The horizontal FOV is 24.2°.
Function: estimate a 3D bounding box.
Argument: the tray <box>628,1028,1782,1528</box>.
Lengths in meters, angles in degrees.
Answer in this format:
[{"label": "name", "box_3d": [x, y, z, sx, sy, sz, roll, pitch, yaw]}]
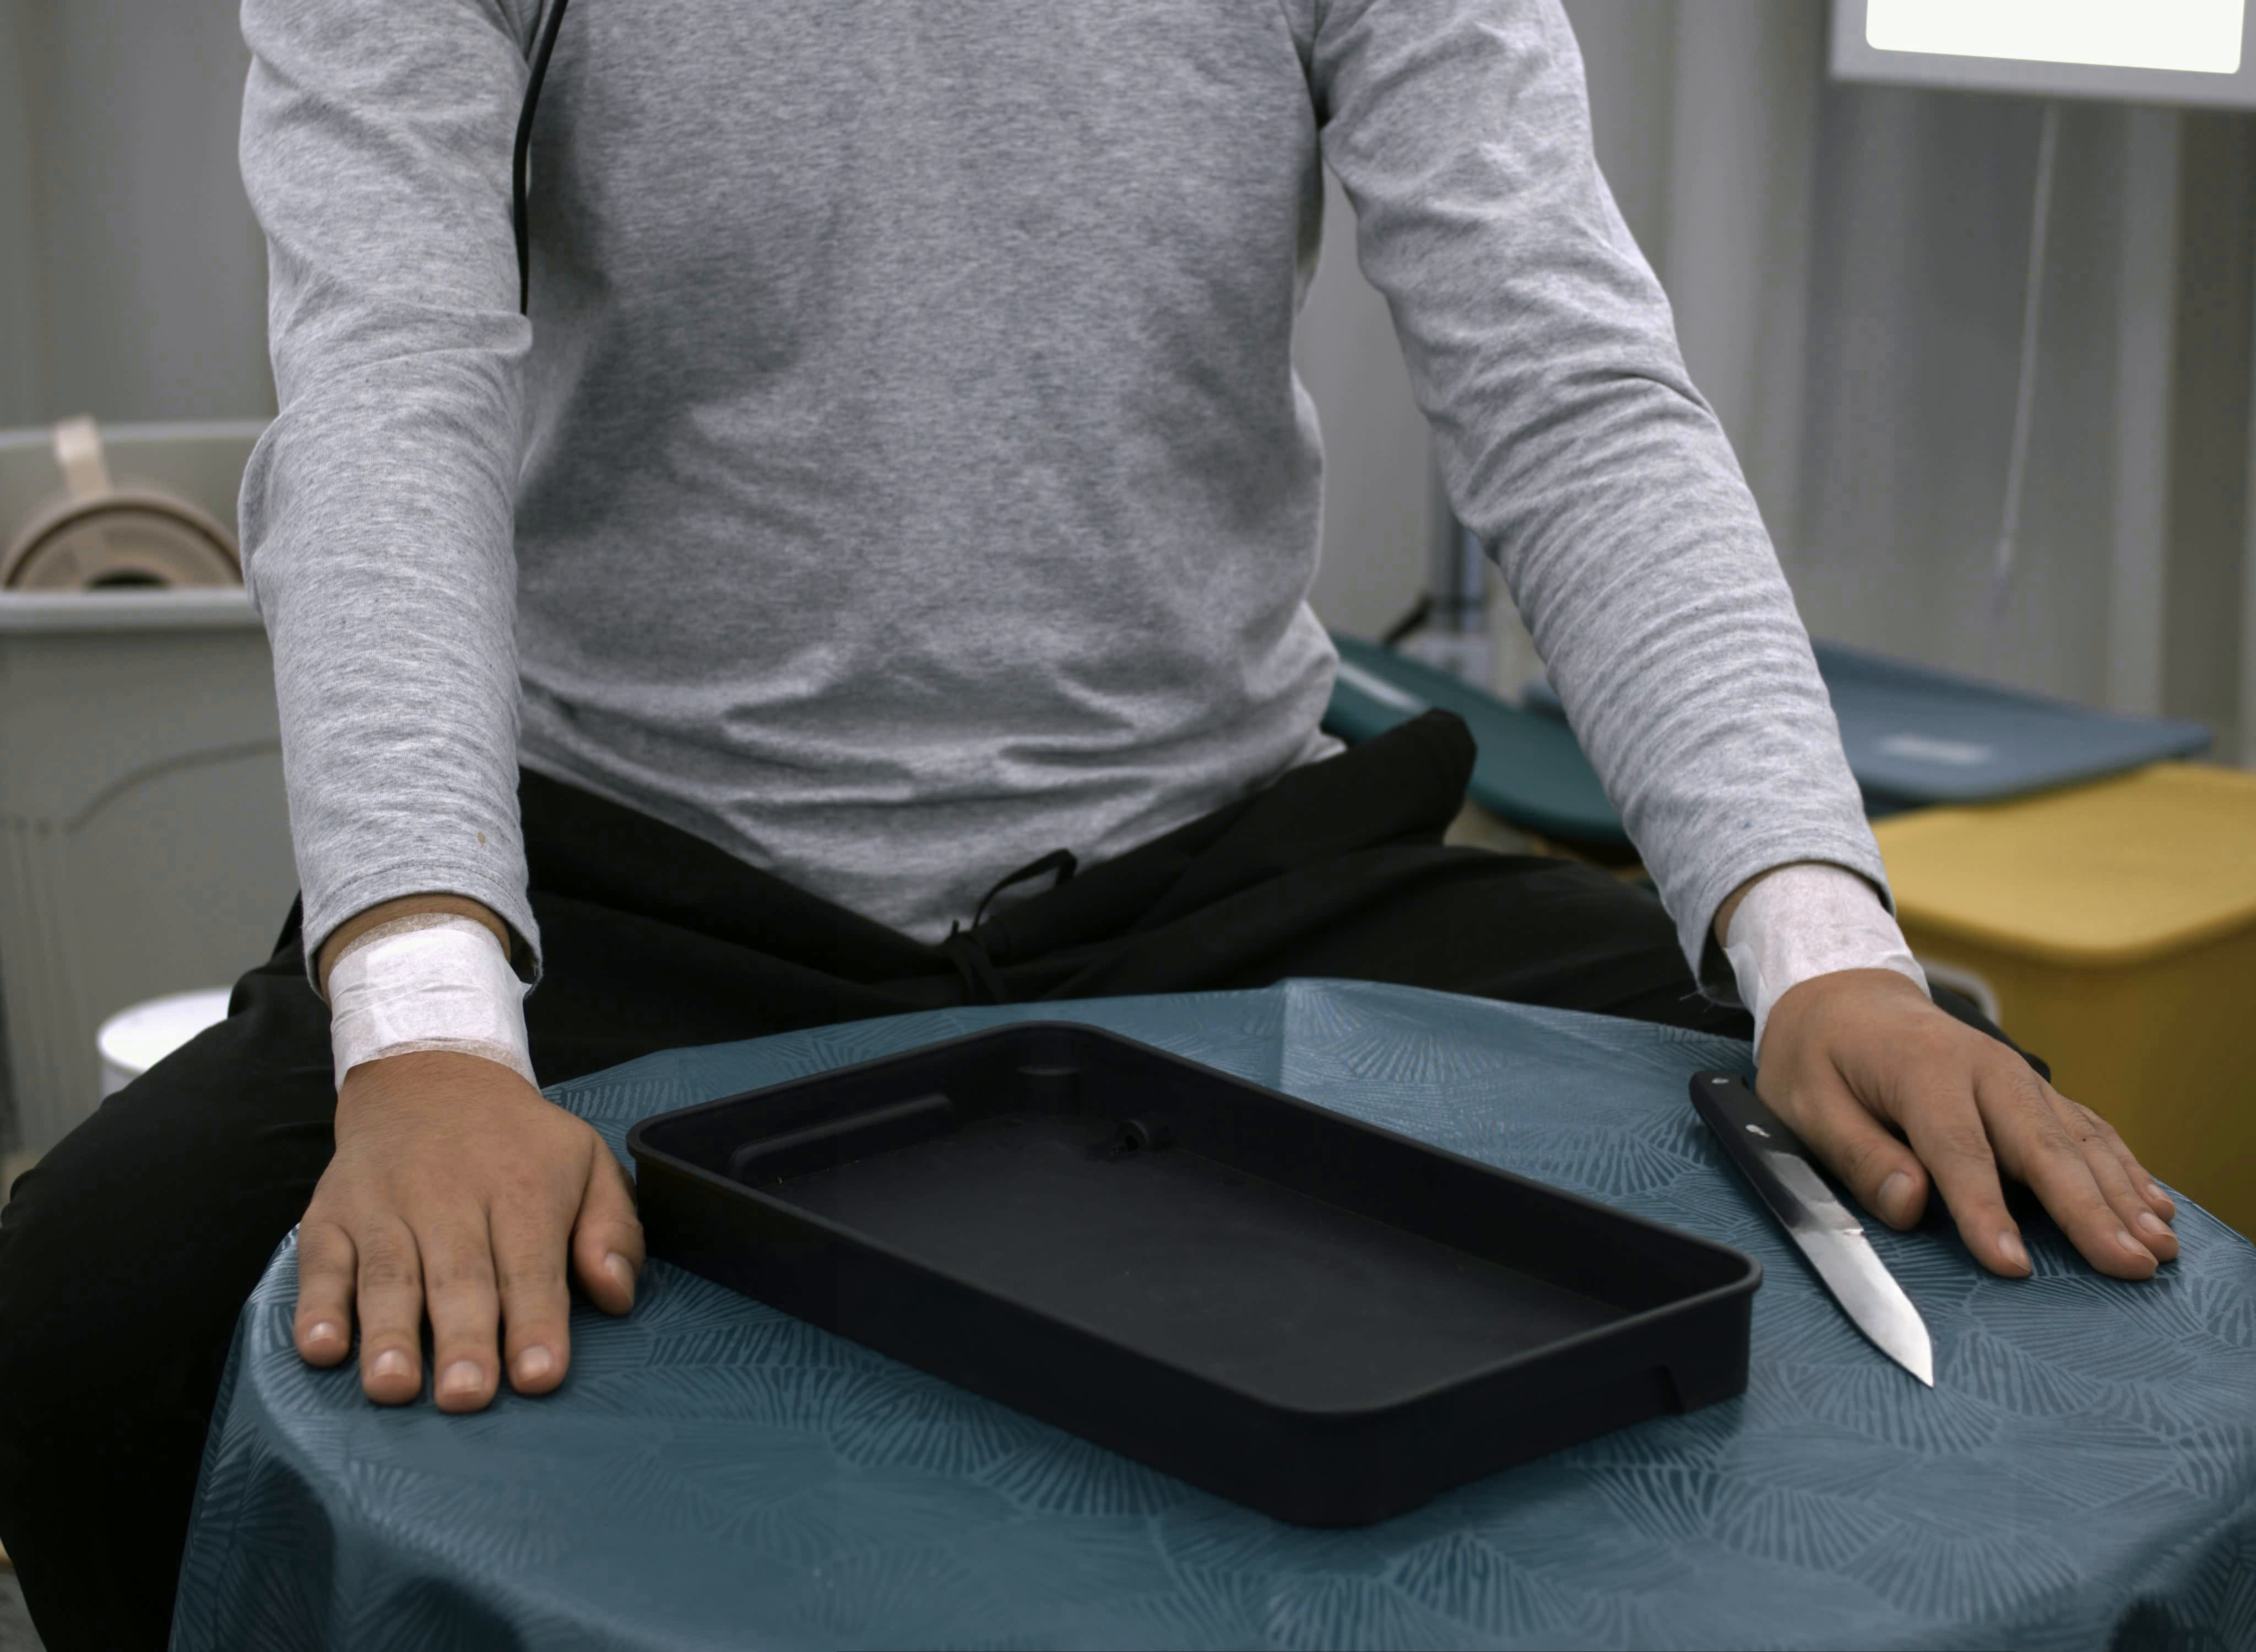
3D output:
[{"label": "tray", "box_3d": [0.017, 0.124, 1.517, 0.185, 0.037, 0.313, -13, 20, -42]}]

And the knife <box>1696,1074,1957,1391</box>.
[{"label": "knife", "box_3d": [0.207, 0.121, 1.581, 0.024, 0.016, 0.236, -4, 18, -9]}]
